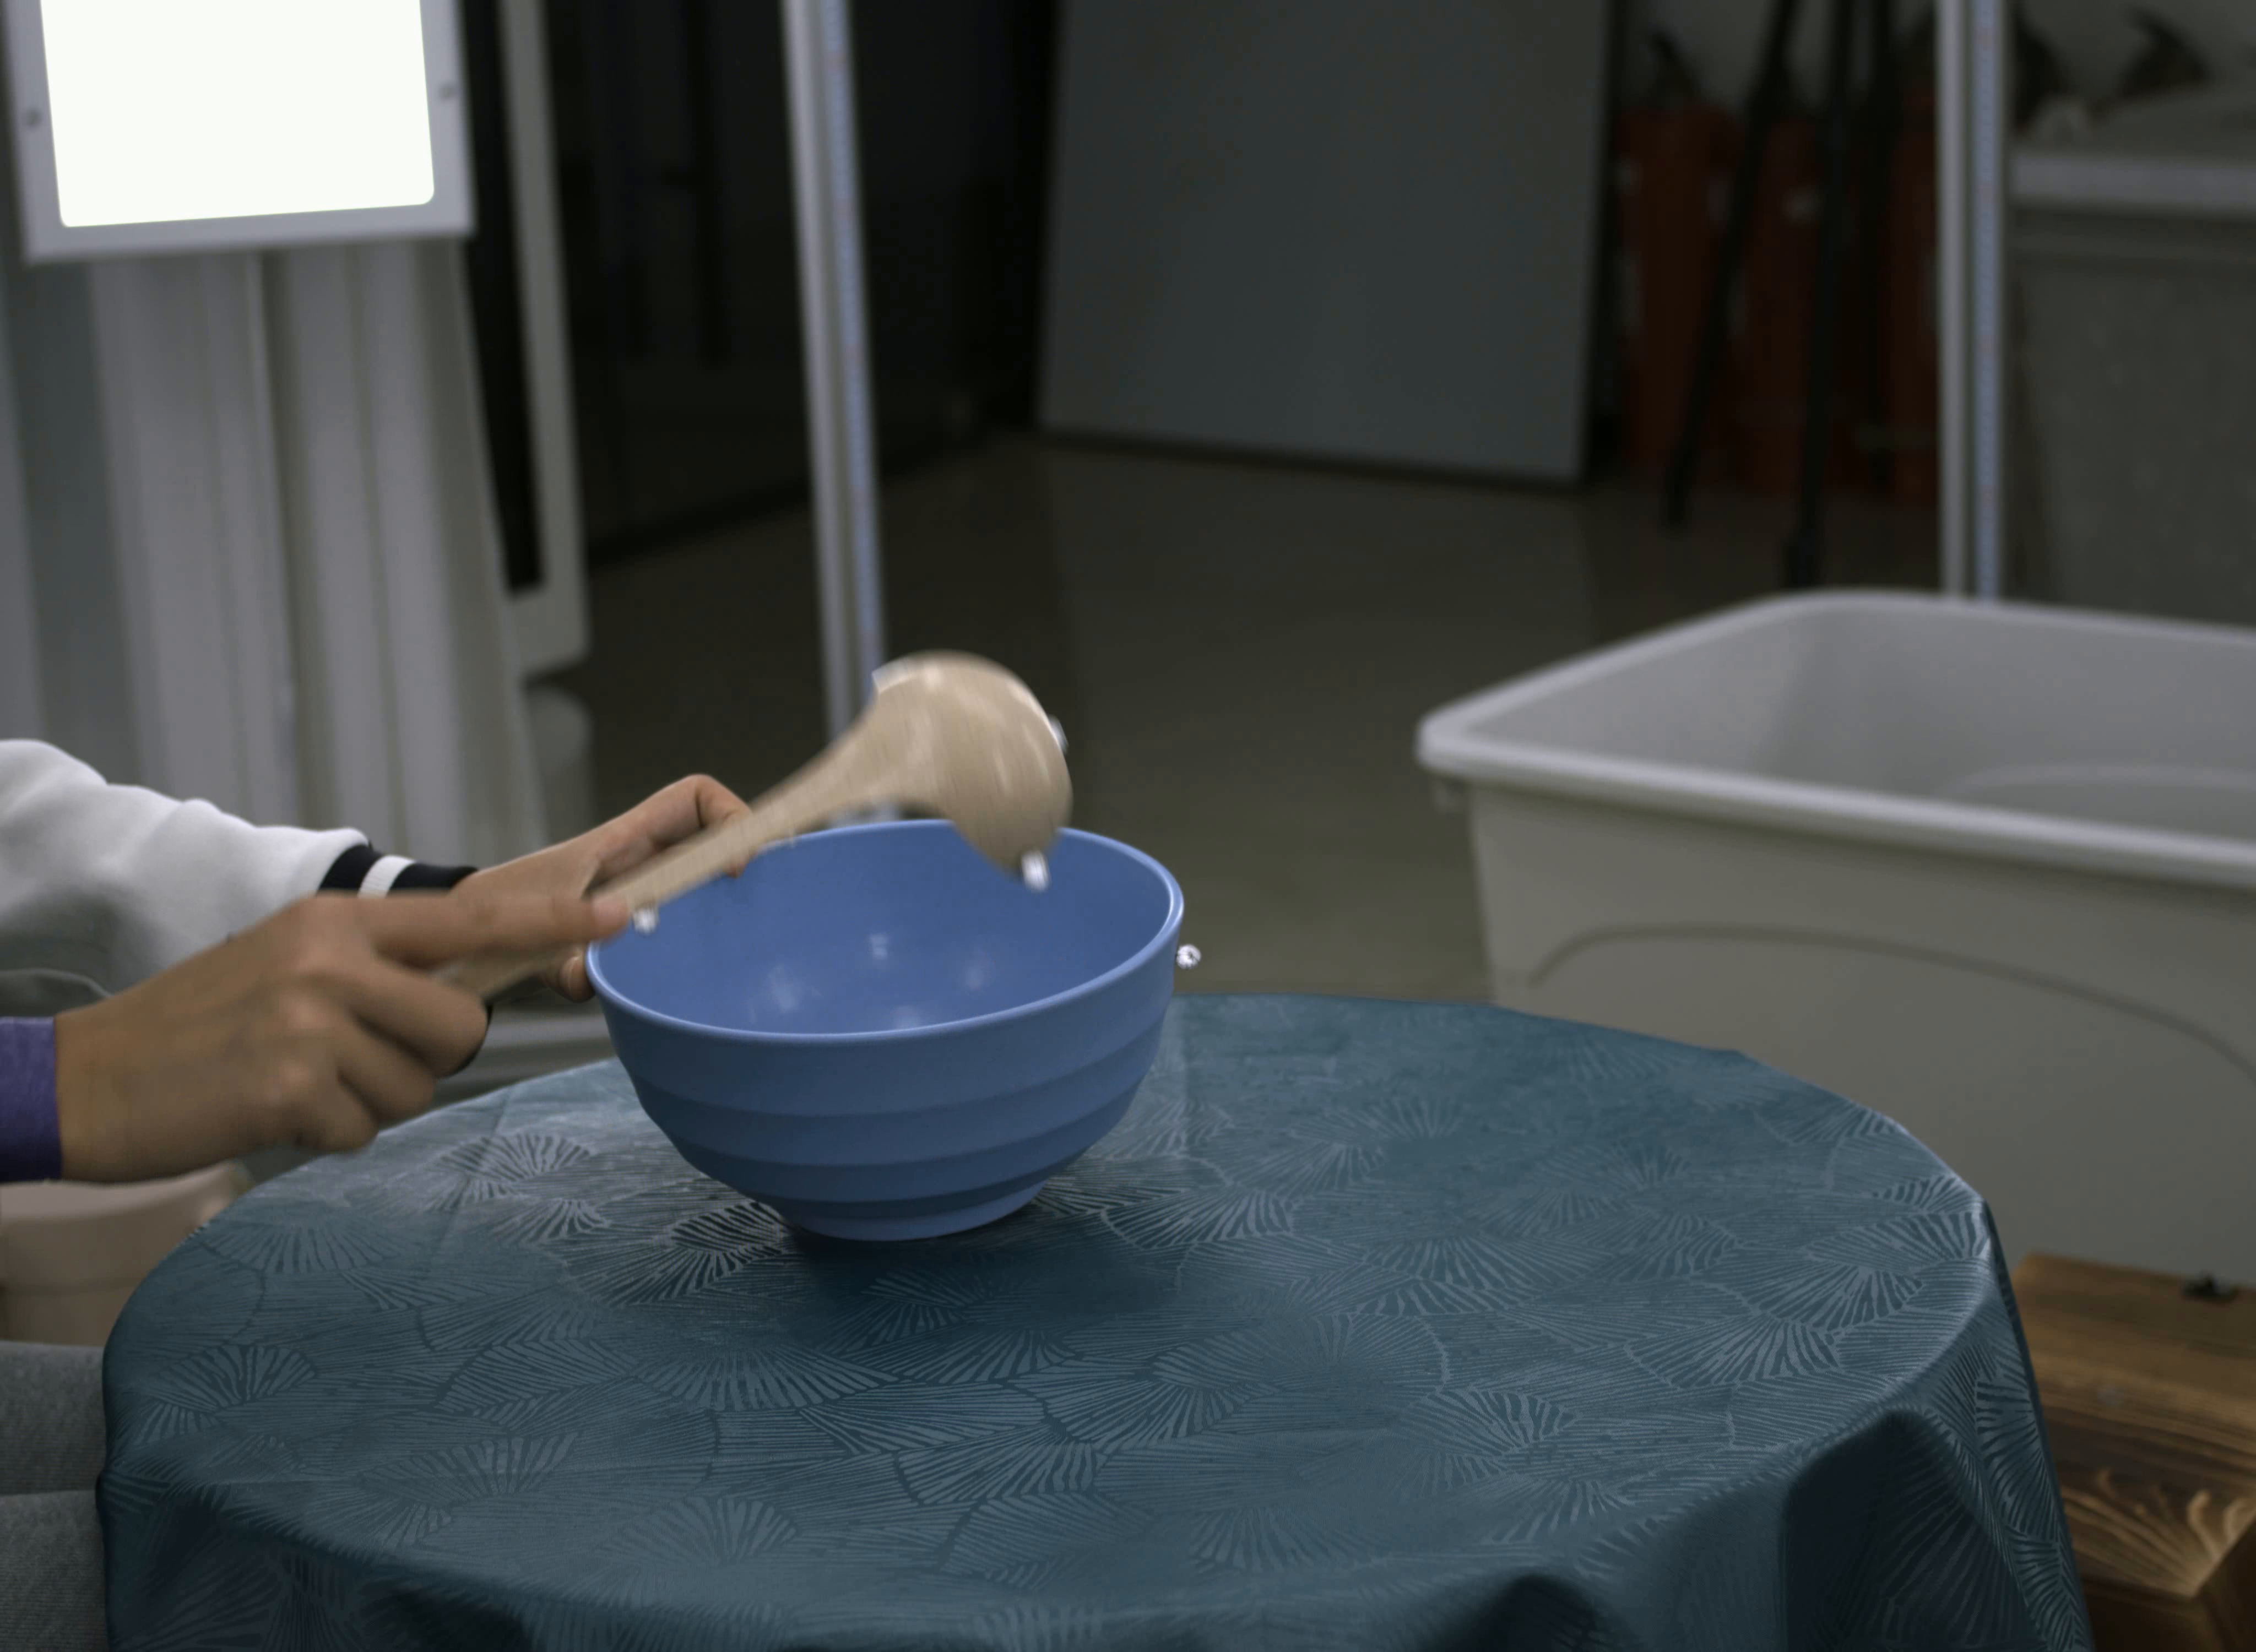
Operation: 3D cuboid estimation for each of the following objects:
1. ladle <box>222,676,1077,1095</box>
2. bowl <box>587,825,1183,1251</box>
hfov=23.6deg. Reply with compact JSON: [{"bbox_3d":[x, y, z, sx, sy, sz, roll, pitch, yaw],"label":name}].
[{"bbox_3d":[-0.134,0.033,1.539,0.251,0.073,0.073,-25,-26,-8],"label":"ladle"},{"bbox_3d":[-0.075,0.076,1.765,0.194,0.096,0.197,-5,20,1],"label":"bowl"}]
